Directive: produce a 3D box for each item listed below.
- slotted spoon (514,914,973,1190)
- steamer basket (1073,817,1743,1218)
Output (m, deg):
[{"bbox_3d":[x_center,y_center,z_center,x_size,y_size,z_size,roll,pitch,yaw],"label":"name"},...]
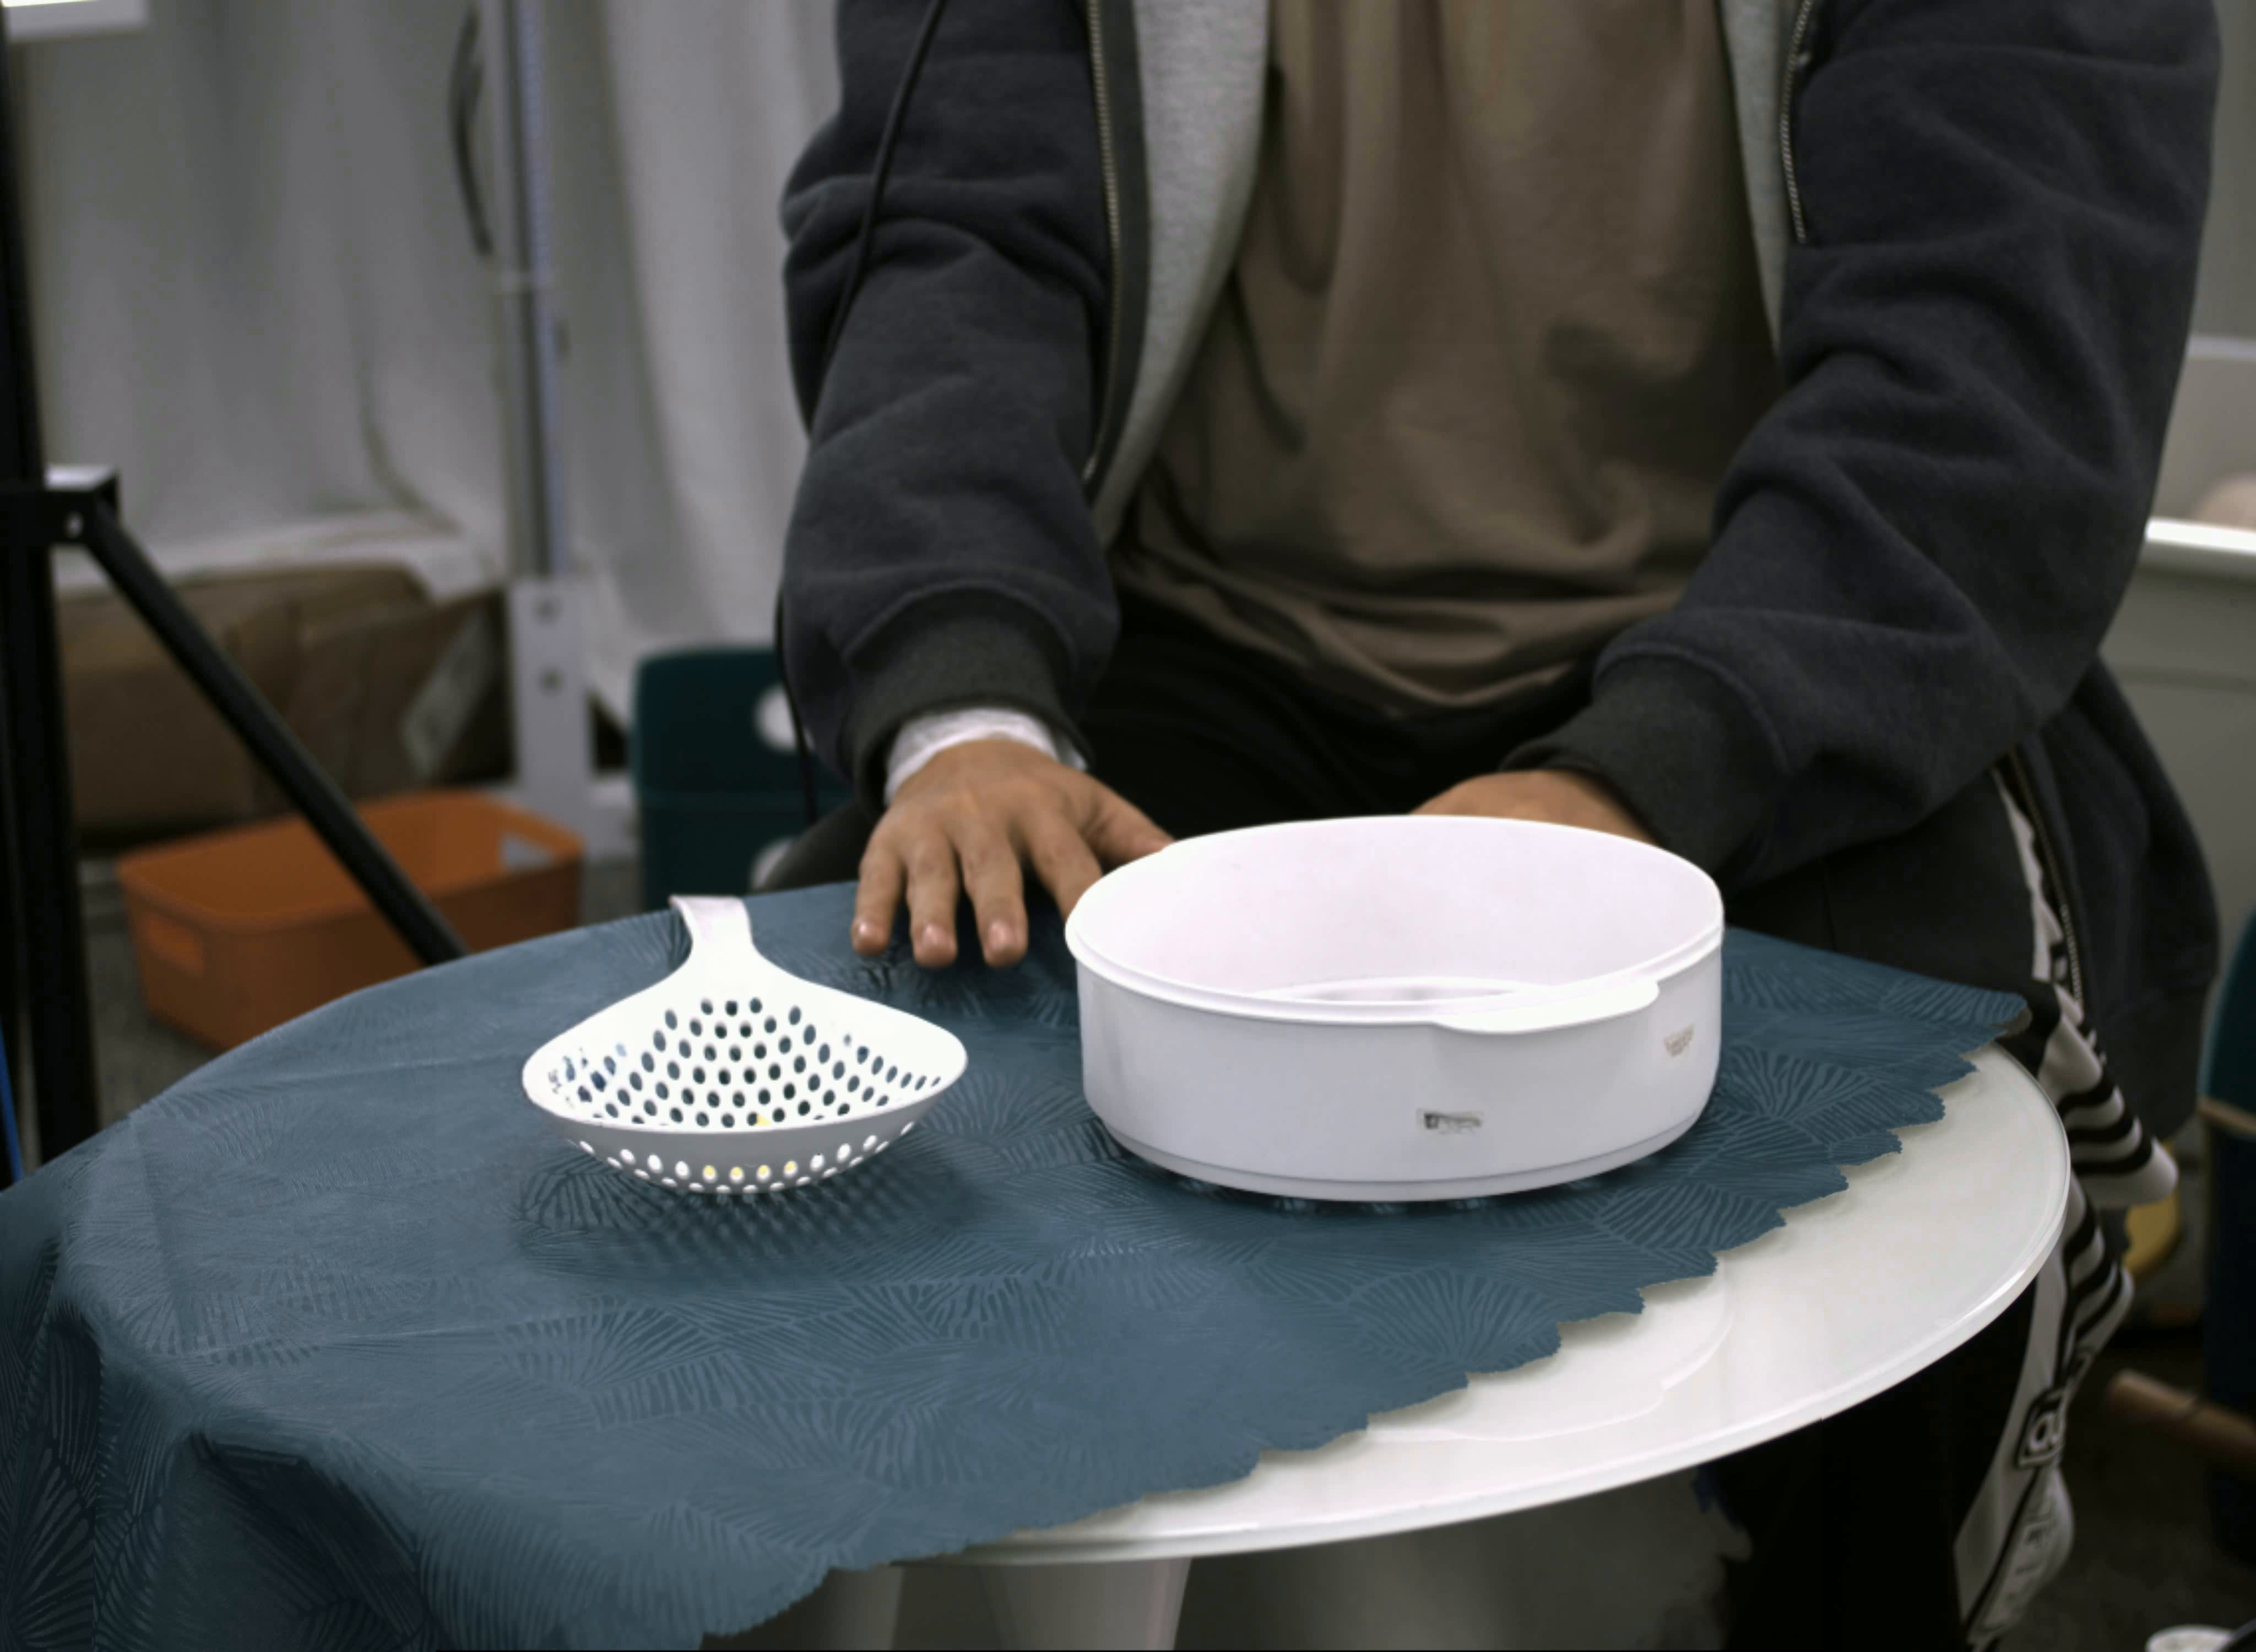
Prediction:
[{"bbox_3d":[-0.127,0.057,1.687,0.135,0.050,0.351,-7,16,-6],"label":"slotted spoon"},{"bbox_3d":[0.084,0.058,1.602,0.198,0.069,0.235,-8,18,-22],"label":"steamer basket"}]
